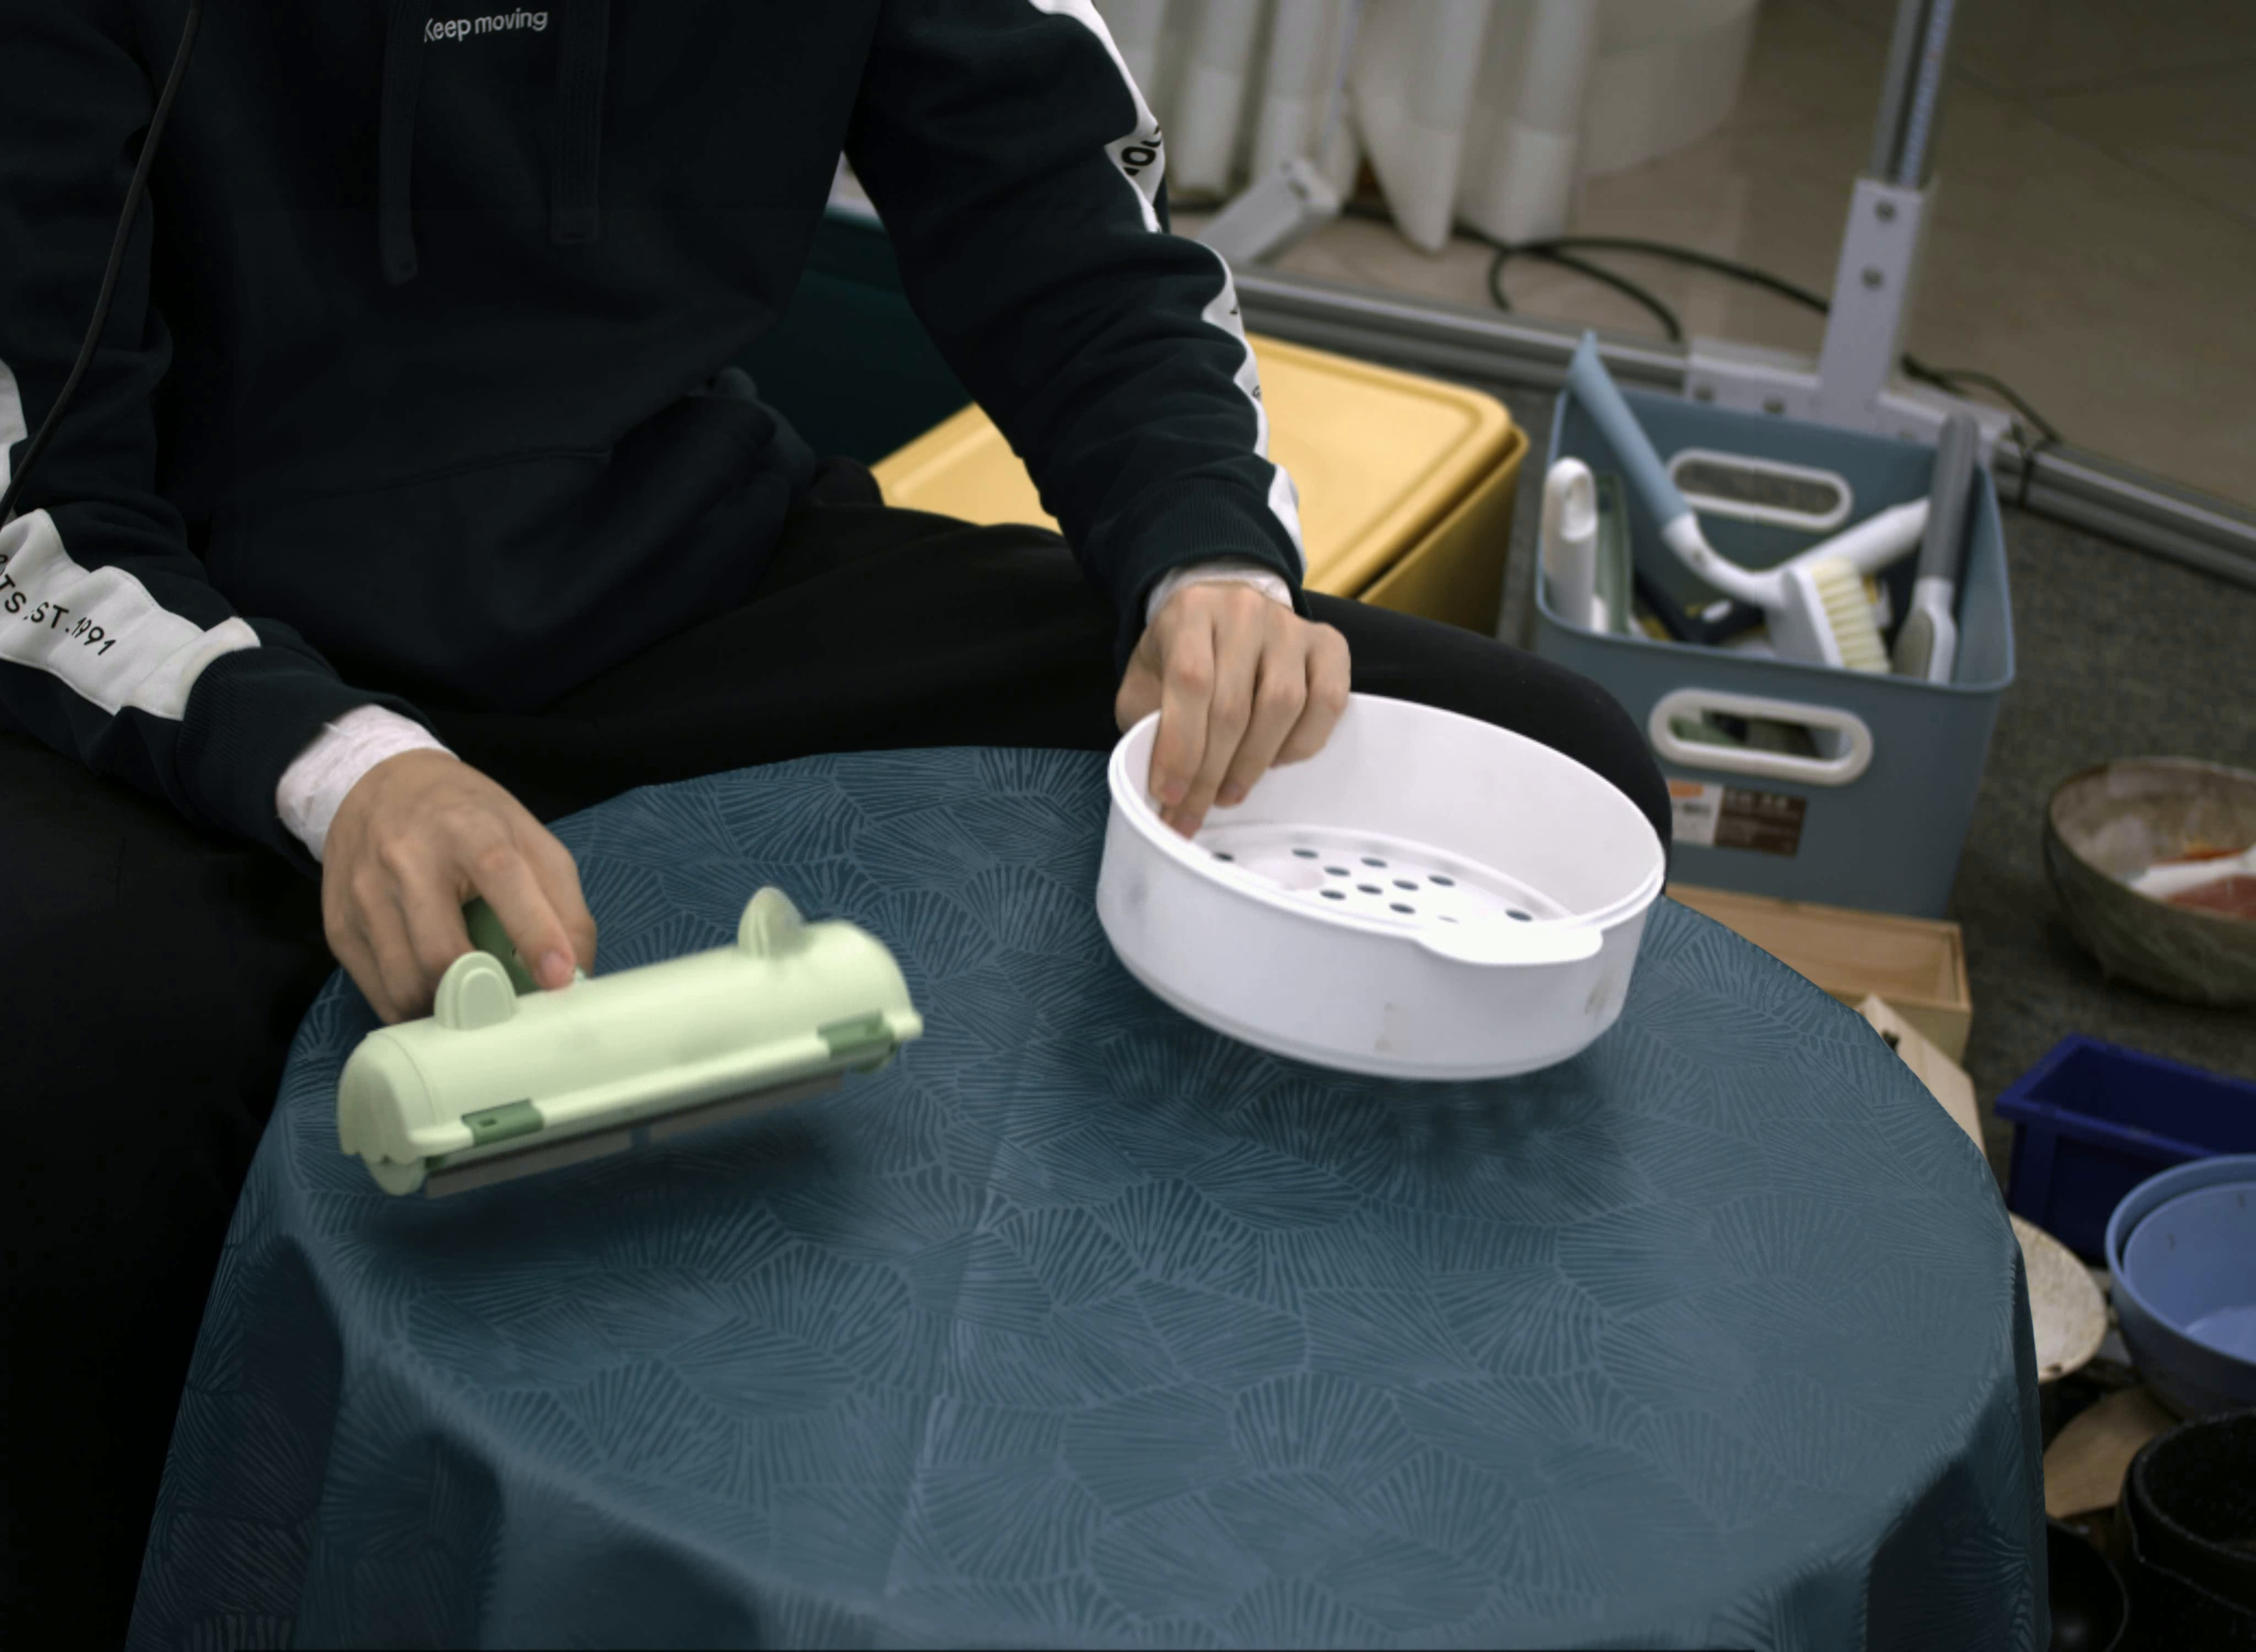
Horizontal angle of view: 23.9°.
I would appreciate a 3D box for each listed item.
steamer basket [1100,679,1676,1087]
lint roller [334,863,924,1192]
[{"bbox_3d":[0.090,0.022,1.888,0.200,0.069,0.232,-2,27,-26],"label":"steamer basket"},{"bbox_3d":[-0.195,0.039,1.779,0.197,0.082,0.185,-15,38,-33],"label":"lint roller"}]
